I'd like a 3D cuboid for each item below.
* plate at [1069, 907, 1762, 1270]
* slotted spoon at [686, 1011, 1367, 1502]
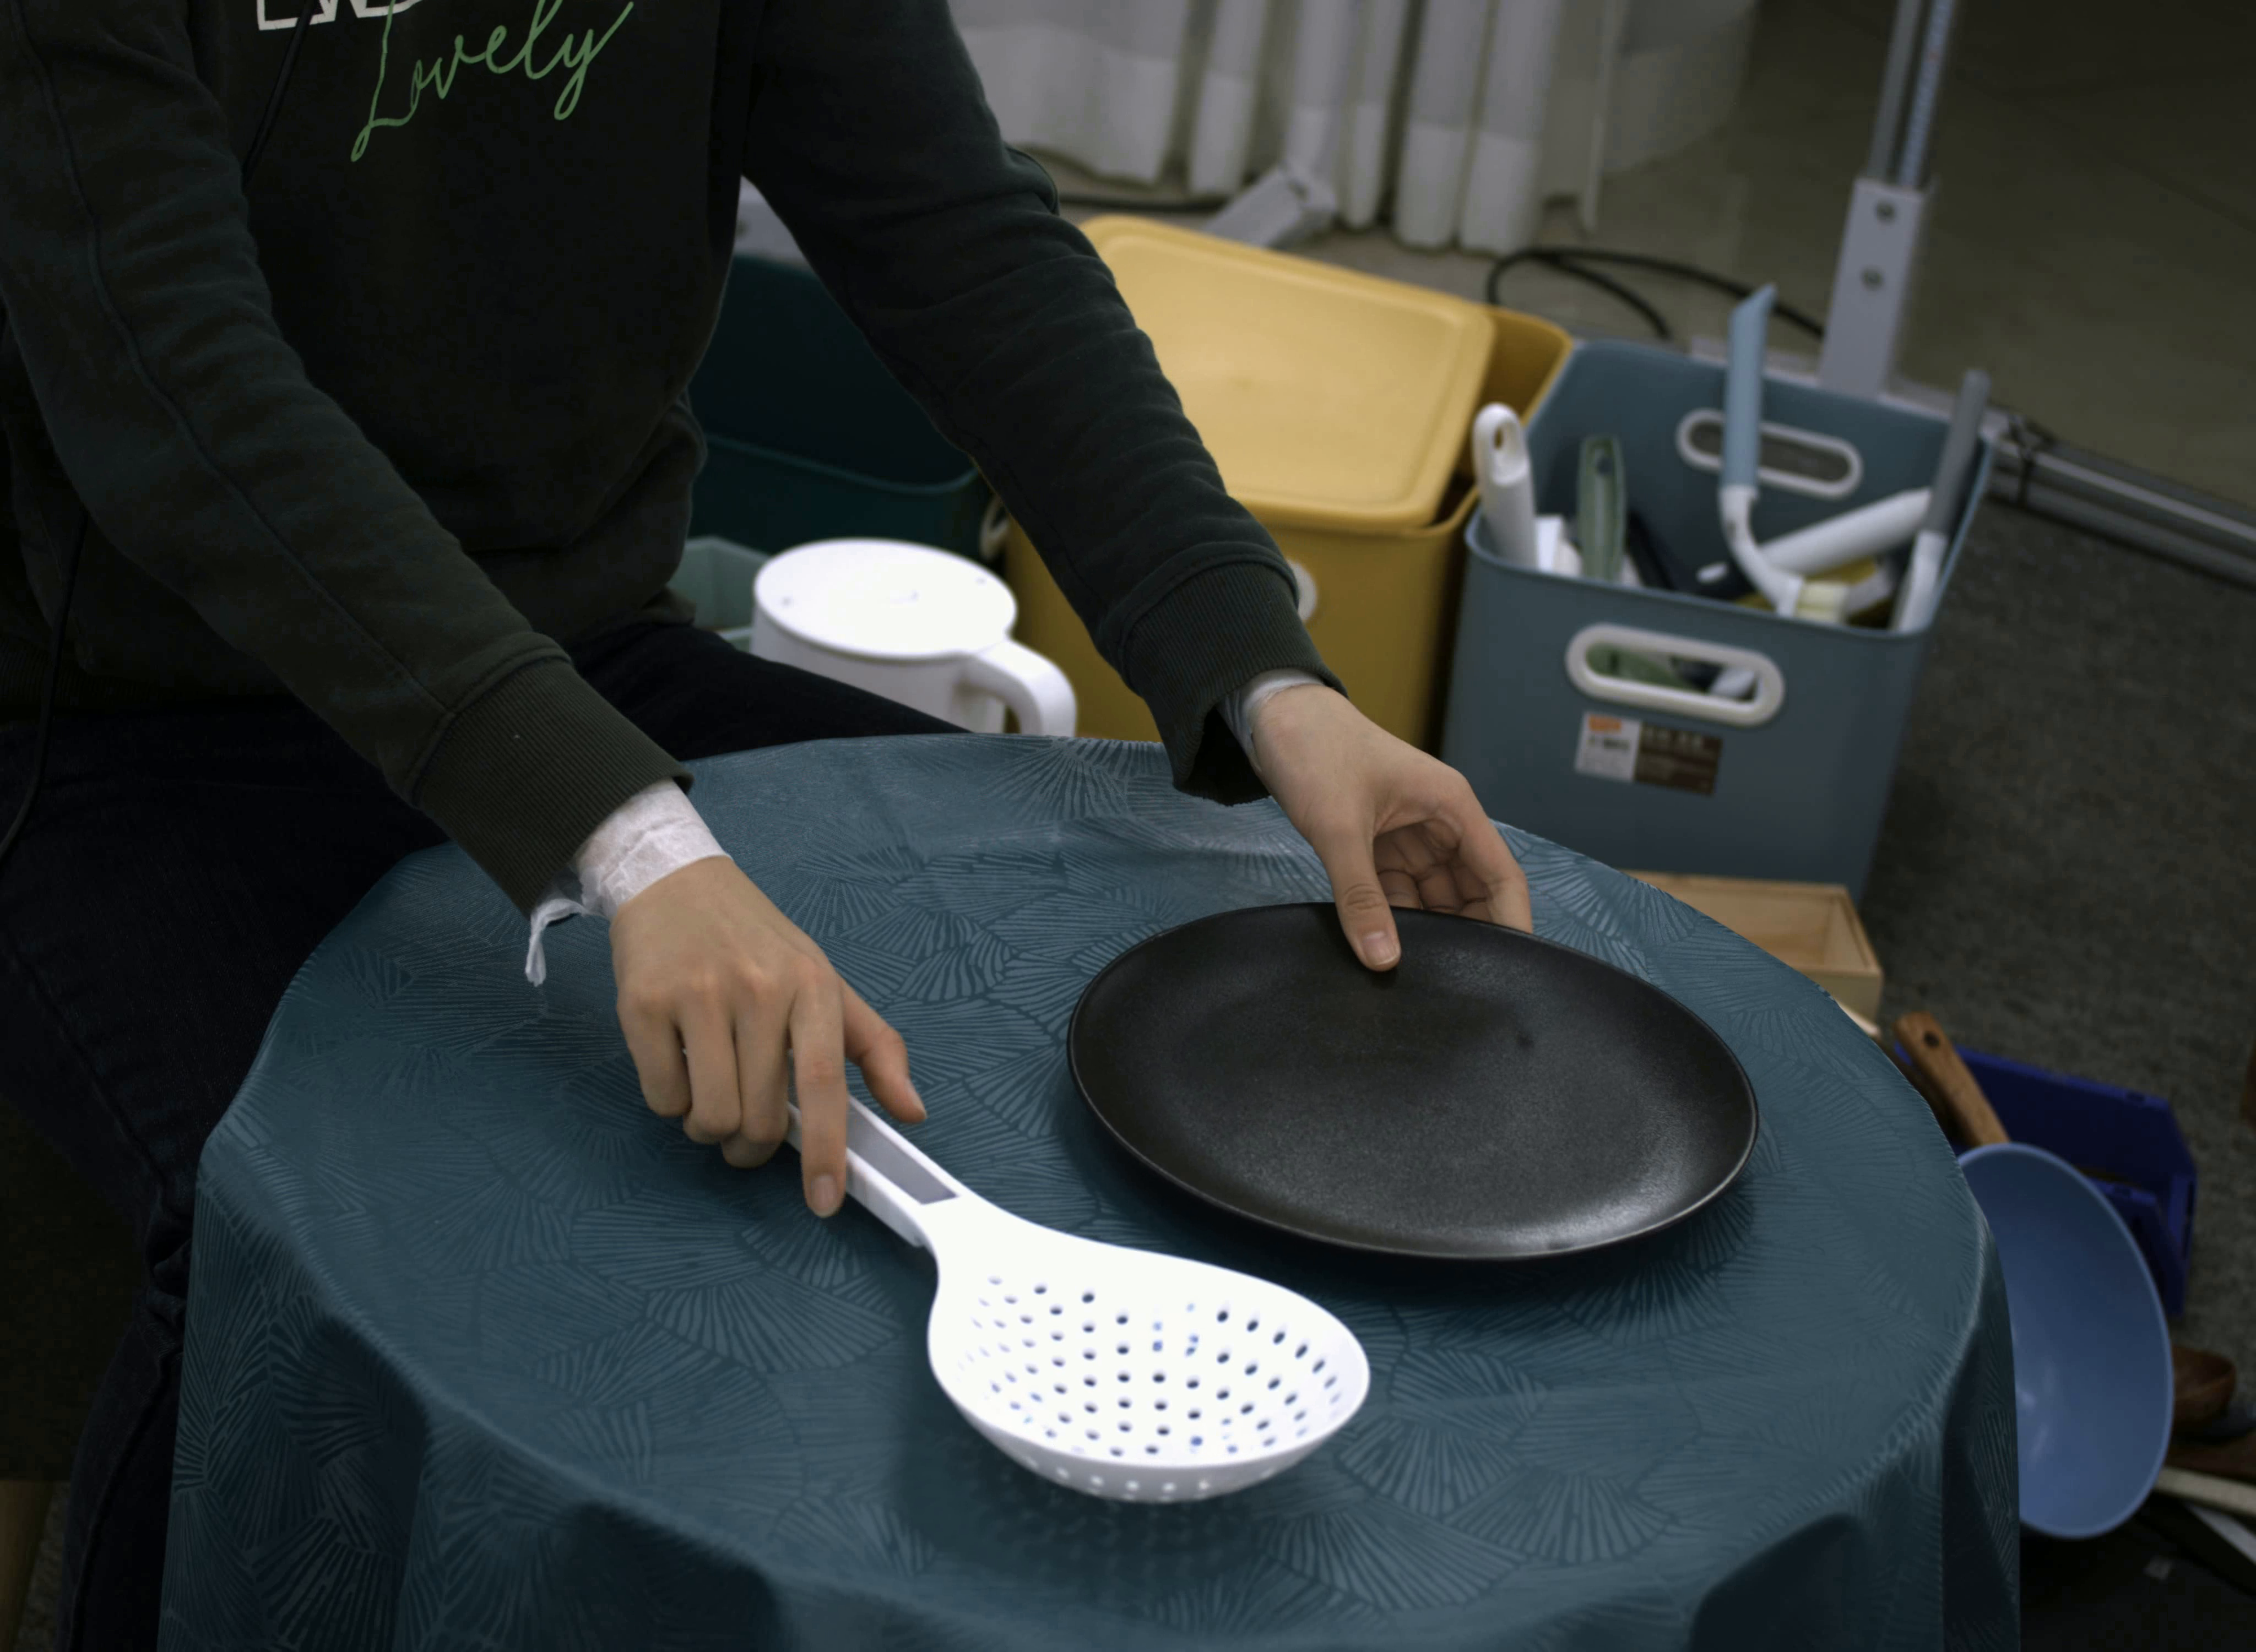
[{"bbox_3d":[0.099,0.095,1.854,0.243,0.023,0.246,5,27,-3],"label":"plate"},{"bbox_3d":[-0.052,0.133,1.720,0.135,0.045,0.353,-9,30,-31],"label":"slotted spoon"}]
